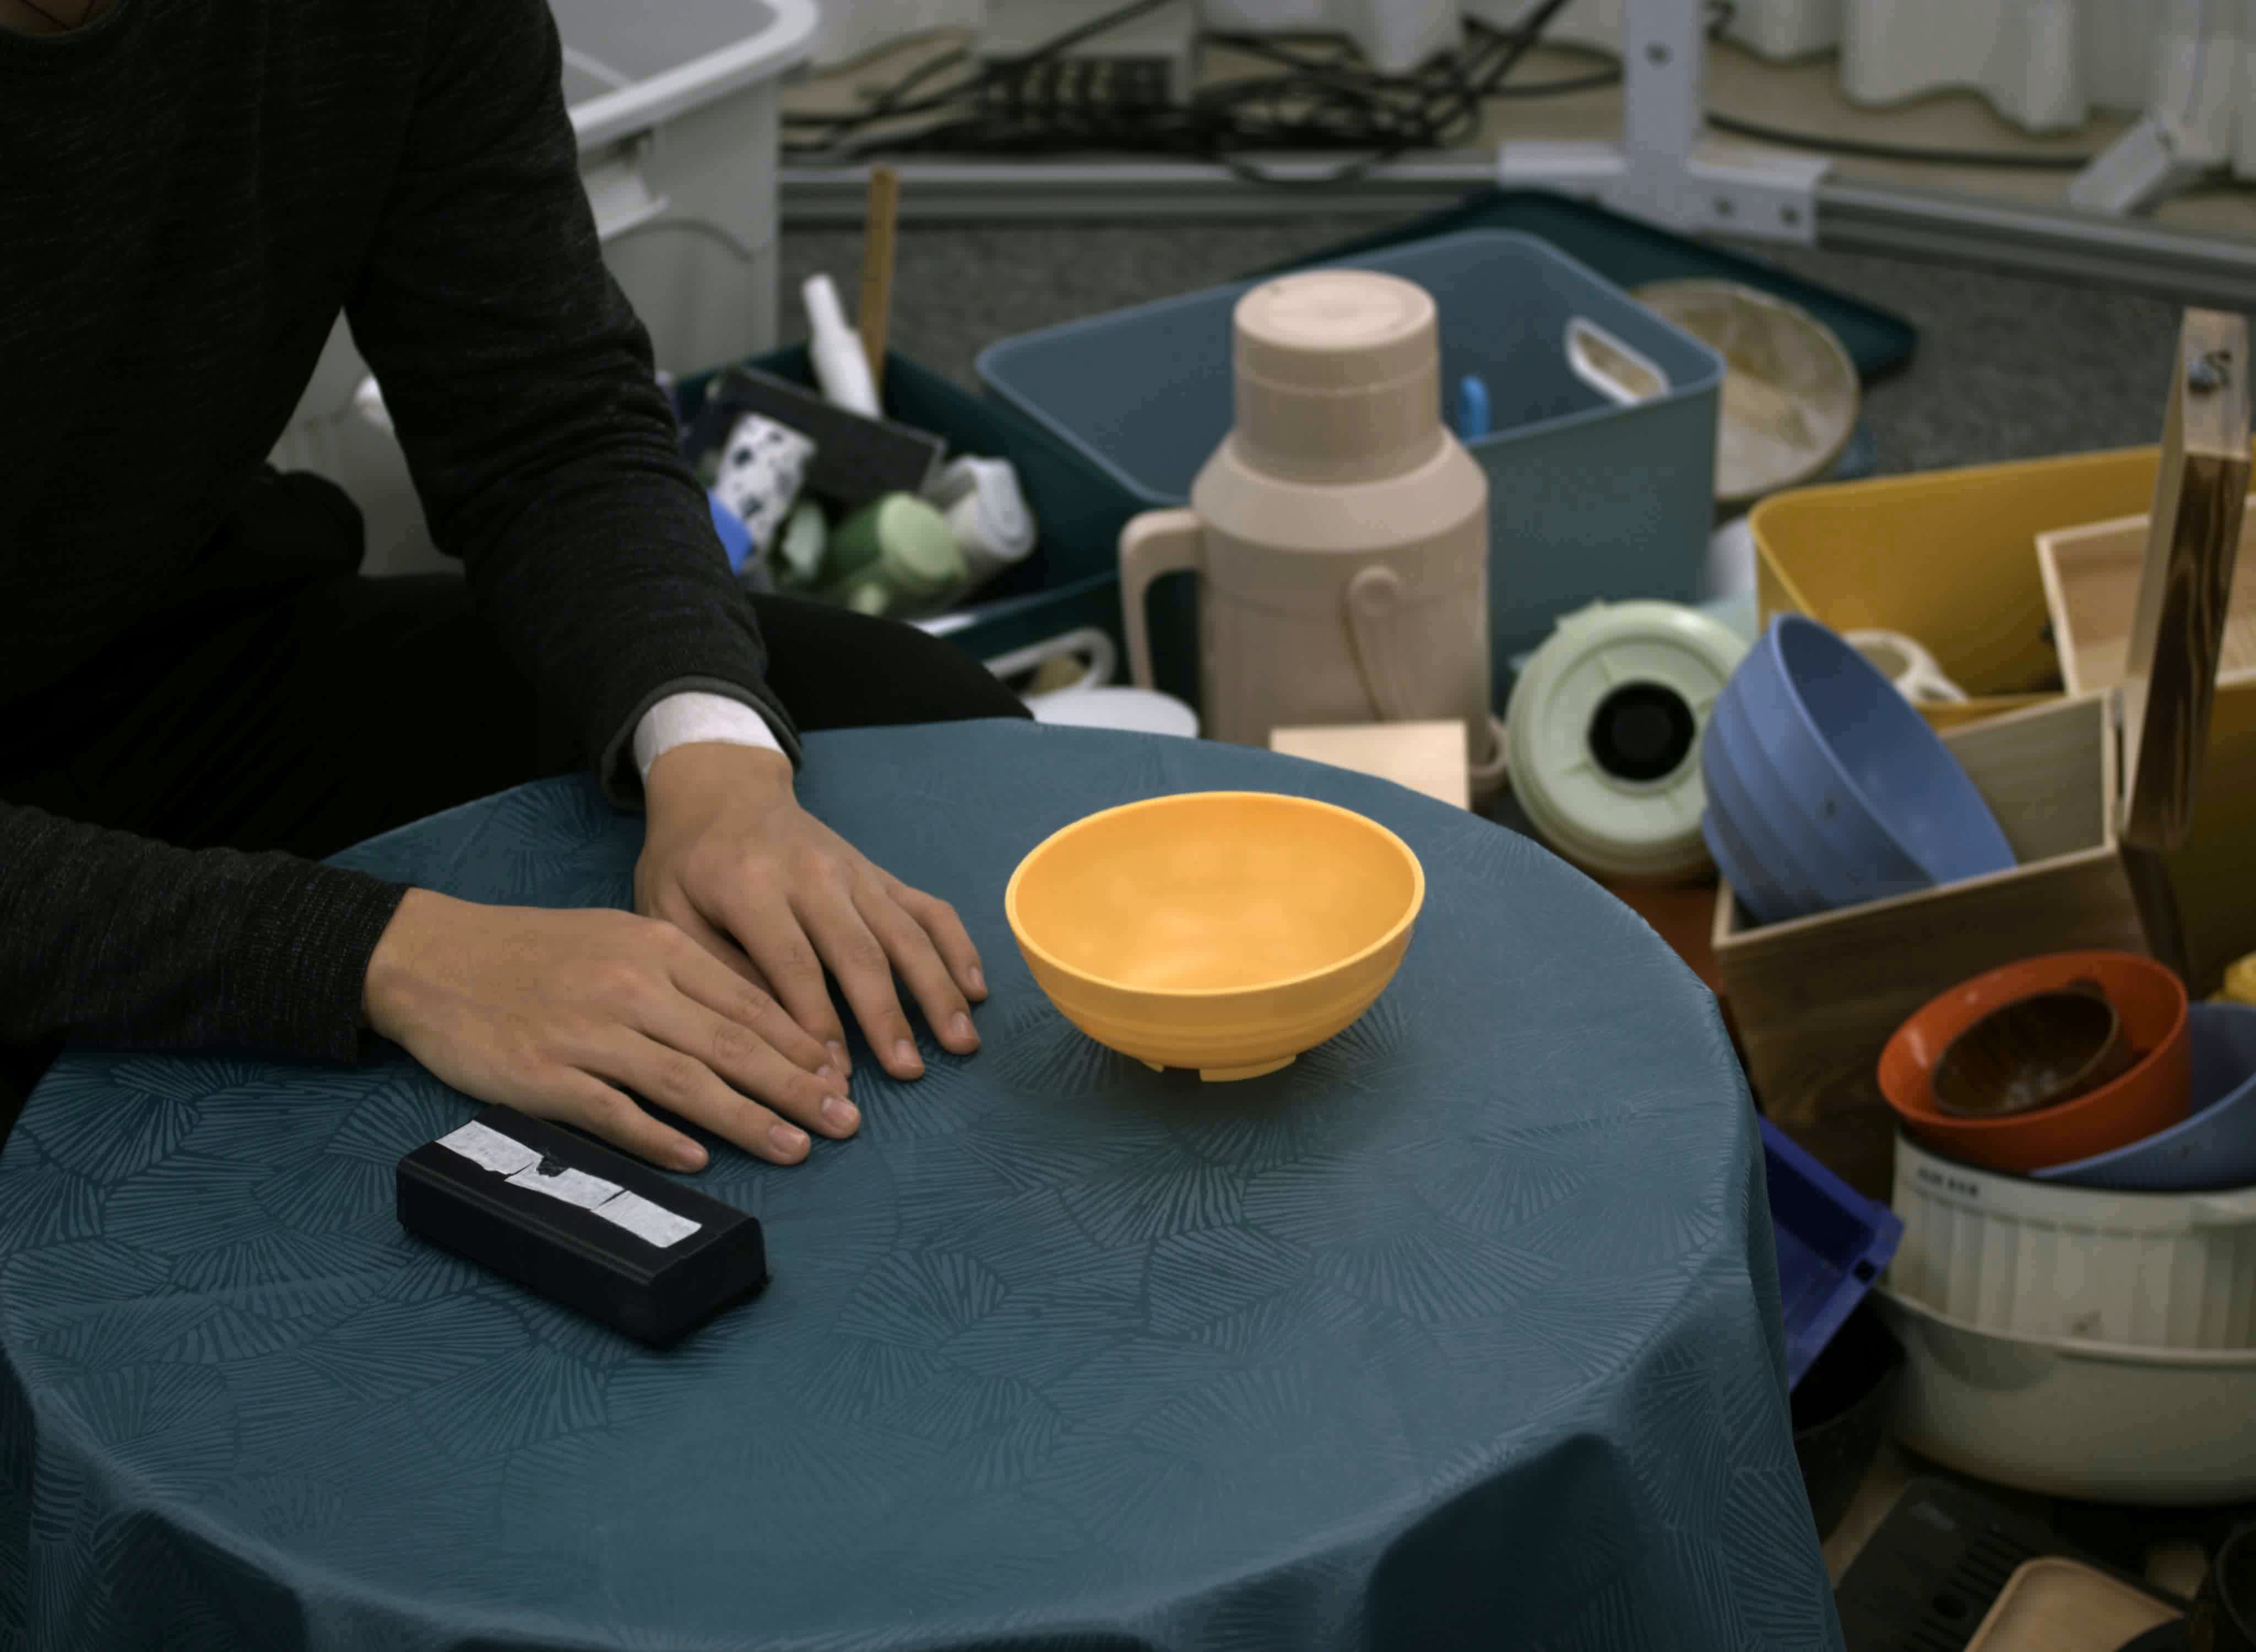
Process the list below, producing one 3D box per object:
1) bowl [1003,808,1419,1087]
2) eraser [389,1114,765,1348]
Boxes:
[{"bbox_3d":[0.029,0.049,1.938,0.144,0.059,0.147,-2,25,1],"label":"bowl"},{"bbox_3d":[-0.179,0.131,1.829,0.125,0.030,0.054,19,31,36],"label":"eraser"}]
